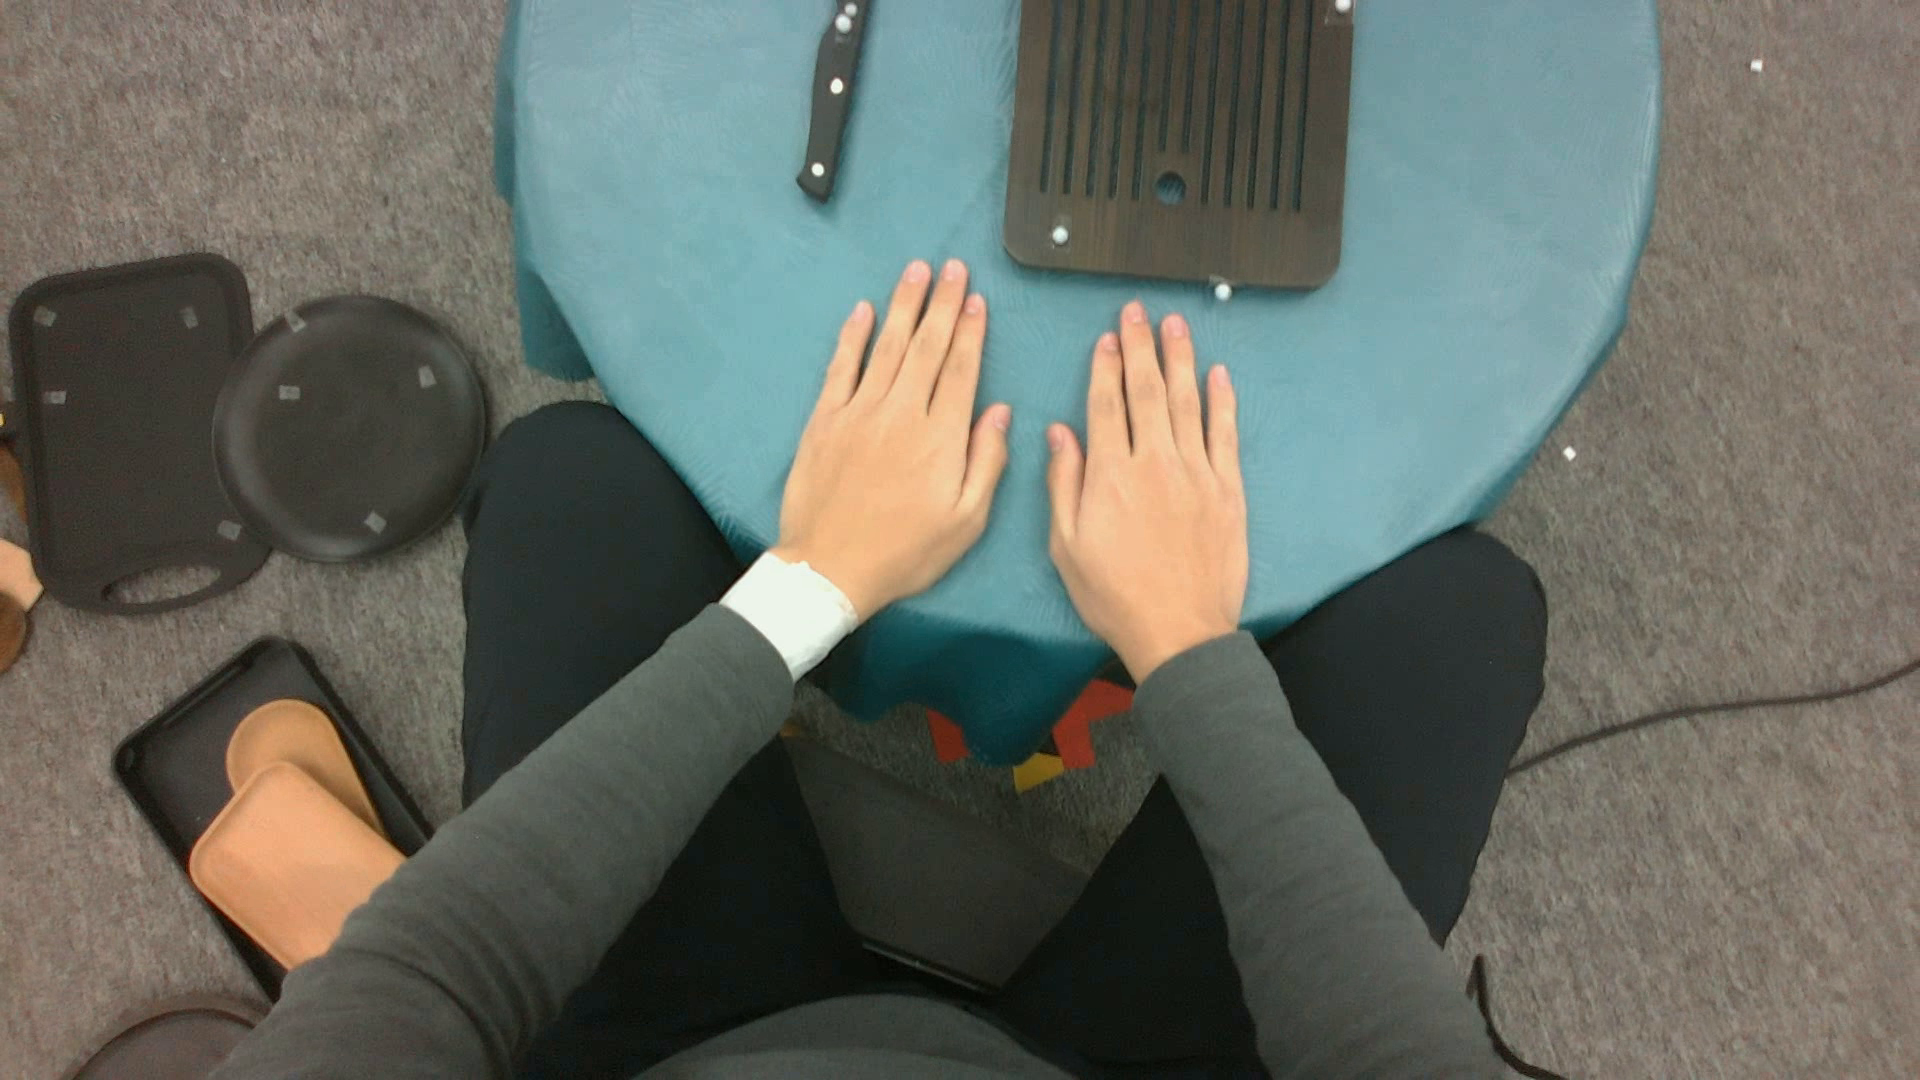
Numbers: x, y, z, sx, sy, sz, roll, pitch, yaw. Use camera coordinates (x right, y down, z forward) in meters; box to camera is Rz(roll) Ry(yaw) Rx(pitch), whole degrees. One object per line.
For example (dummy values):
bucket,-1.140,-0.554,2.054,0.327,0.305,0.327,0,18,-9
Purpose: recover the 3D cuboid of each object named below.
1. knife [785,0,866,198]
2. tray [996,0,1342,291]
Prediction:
knife,-0.060,-0.290,0.725,0.024,0.016,0.238,10,79,0
tray,0.114,-0.282,0.721,0.170,0.018,0.306,5,82,0
